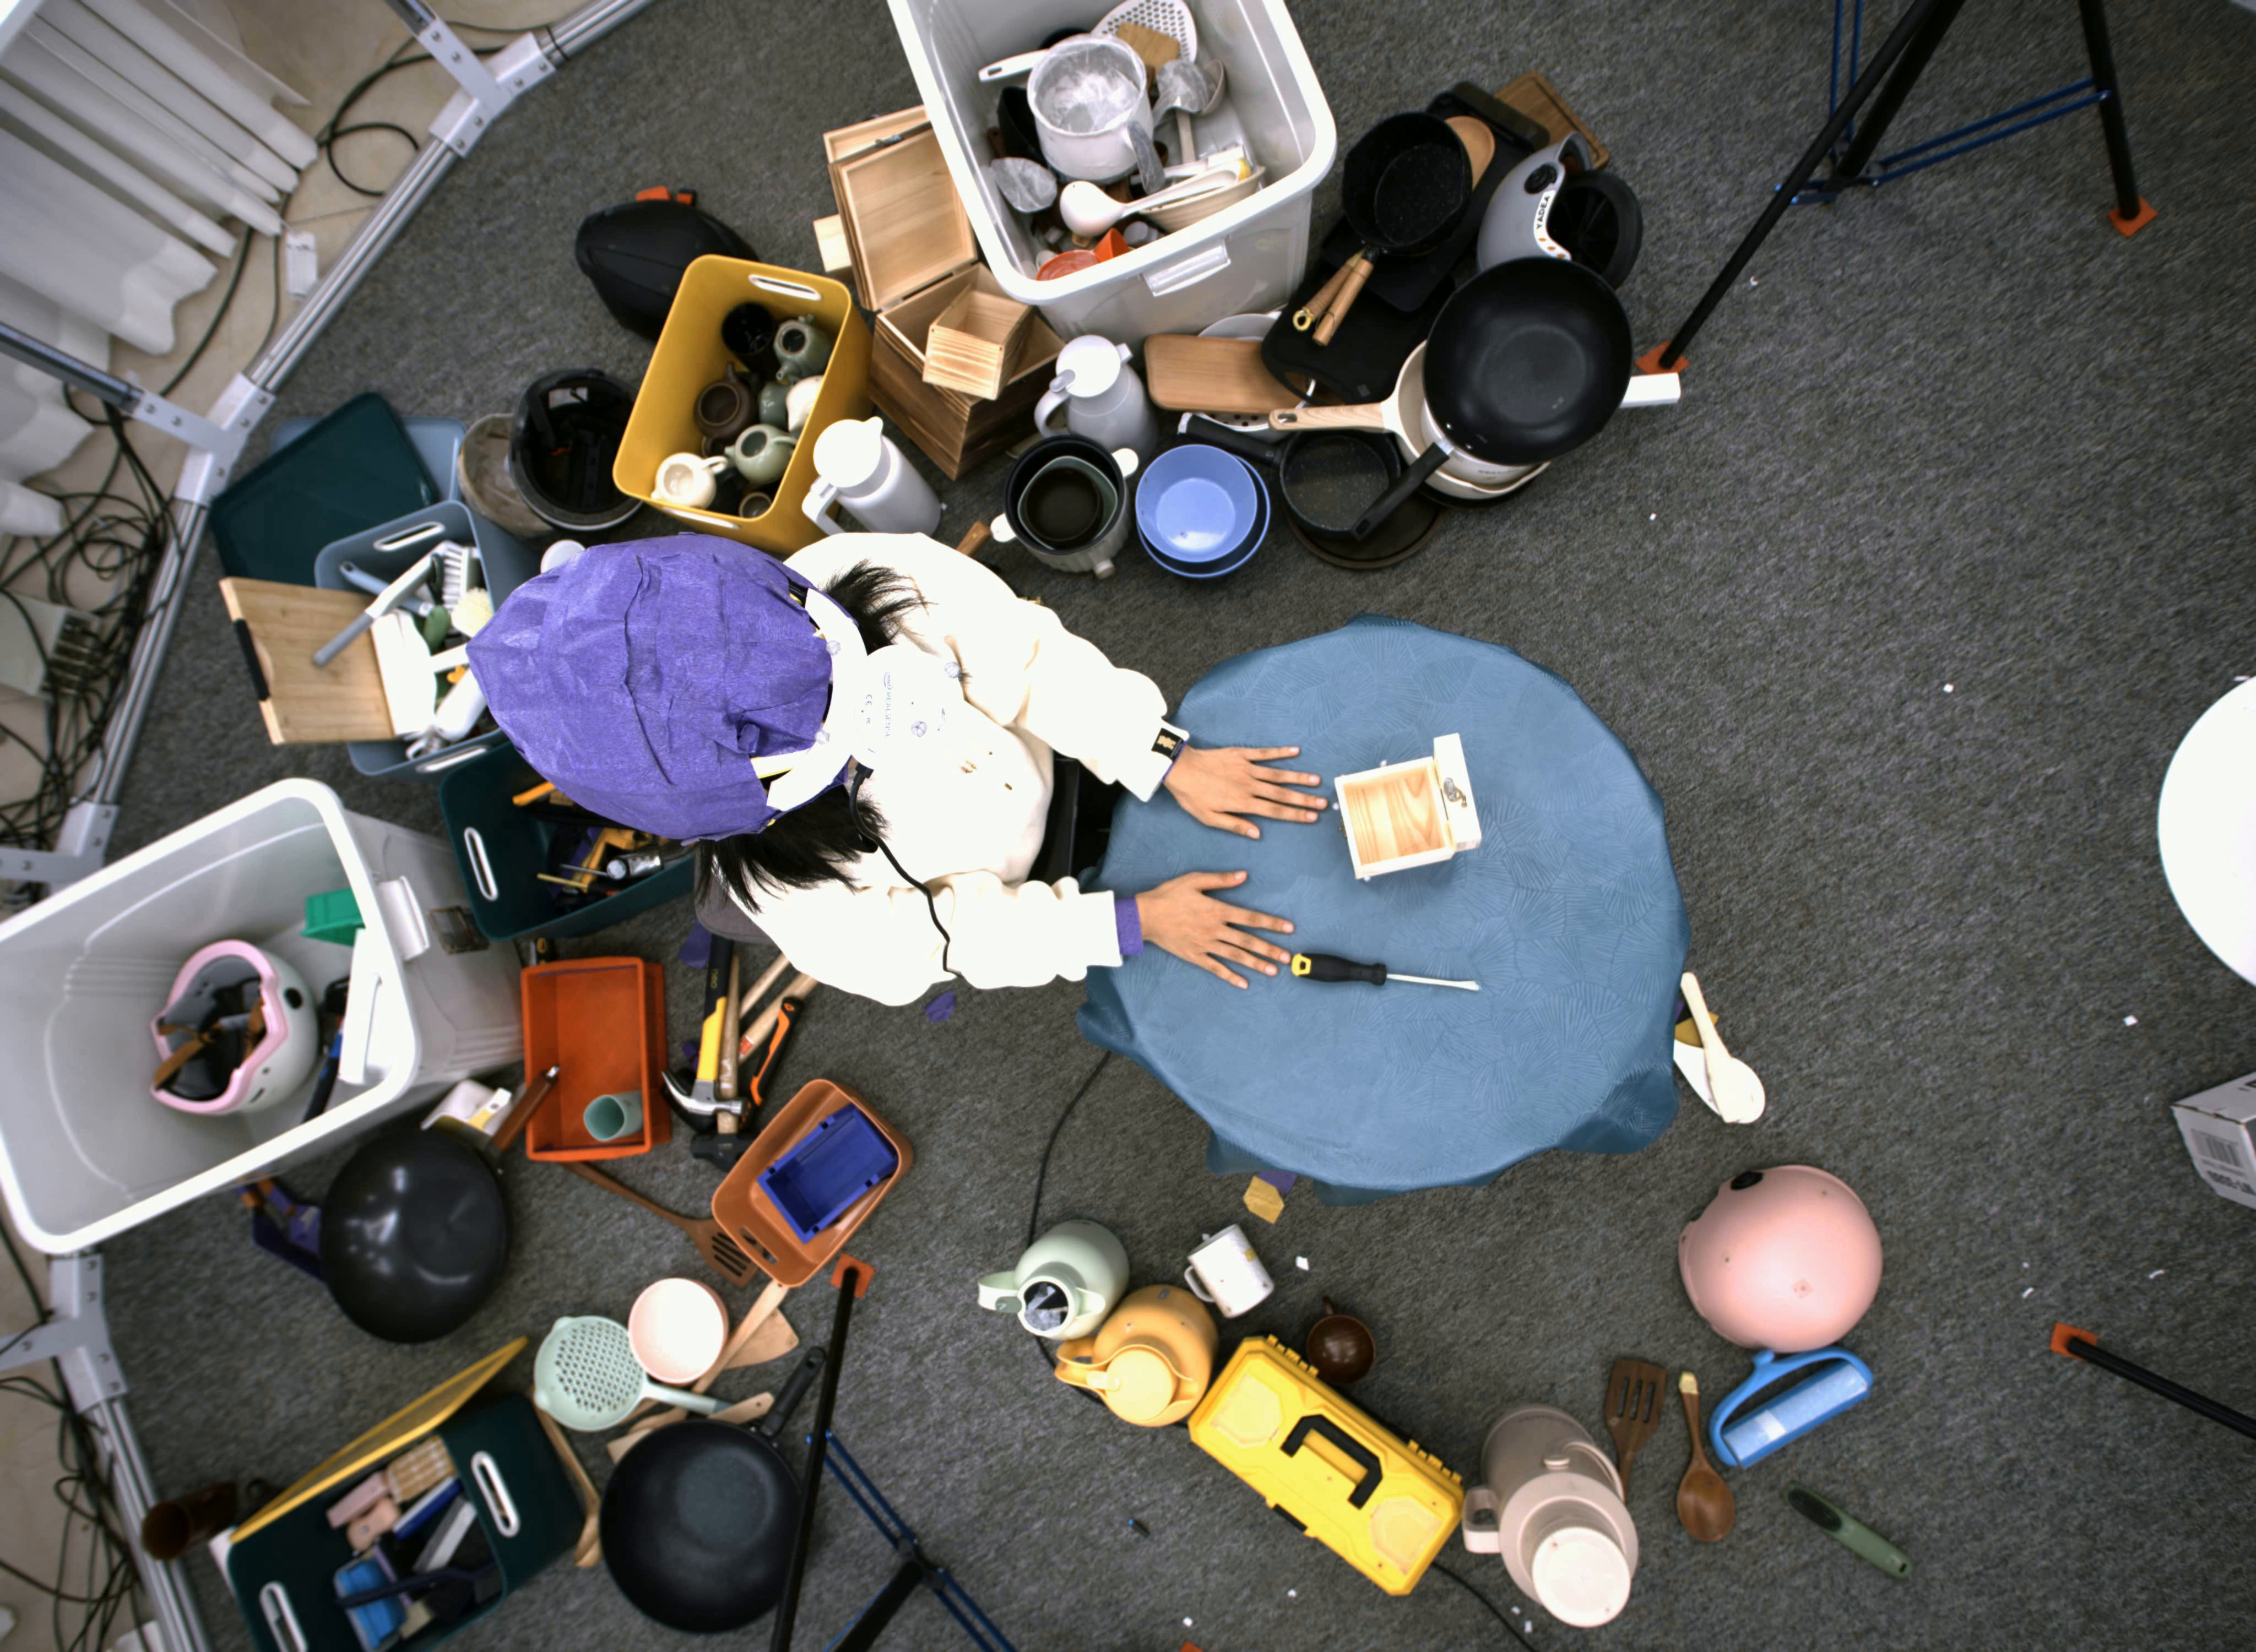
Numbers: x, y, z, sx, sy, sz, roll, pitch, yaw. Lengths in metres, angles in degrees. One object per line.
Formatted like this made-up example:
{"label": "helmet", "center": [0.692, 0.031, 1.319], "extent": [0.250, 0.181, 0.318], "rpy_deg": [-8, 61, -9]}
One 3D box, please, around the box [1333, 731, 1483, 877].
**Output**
{"label": "box", "center": [0.274, -0.018, 1.371], "extent": [0.134, 0.185, 0.102], "rpy_deg": [-14, 82, 8]}

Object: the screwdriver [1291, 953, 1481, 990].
{"label": "screwdriver", "center": [0.269, 0.158, 1.445], "extent": [0.198, 0.031, 0.031], "rpy_deg": [9, 87, 9]}
